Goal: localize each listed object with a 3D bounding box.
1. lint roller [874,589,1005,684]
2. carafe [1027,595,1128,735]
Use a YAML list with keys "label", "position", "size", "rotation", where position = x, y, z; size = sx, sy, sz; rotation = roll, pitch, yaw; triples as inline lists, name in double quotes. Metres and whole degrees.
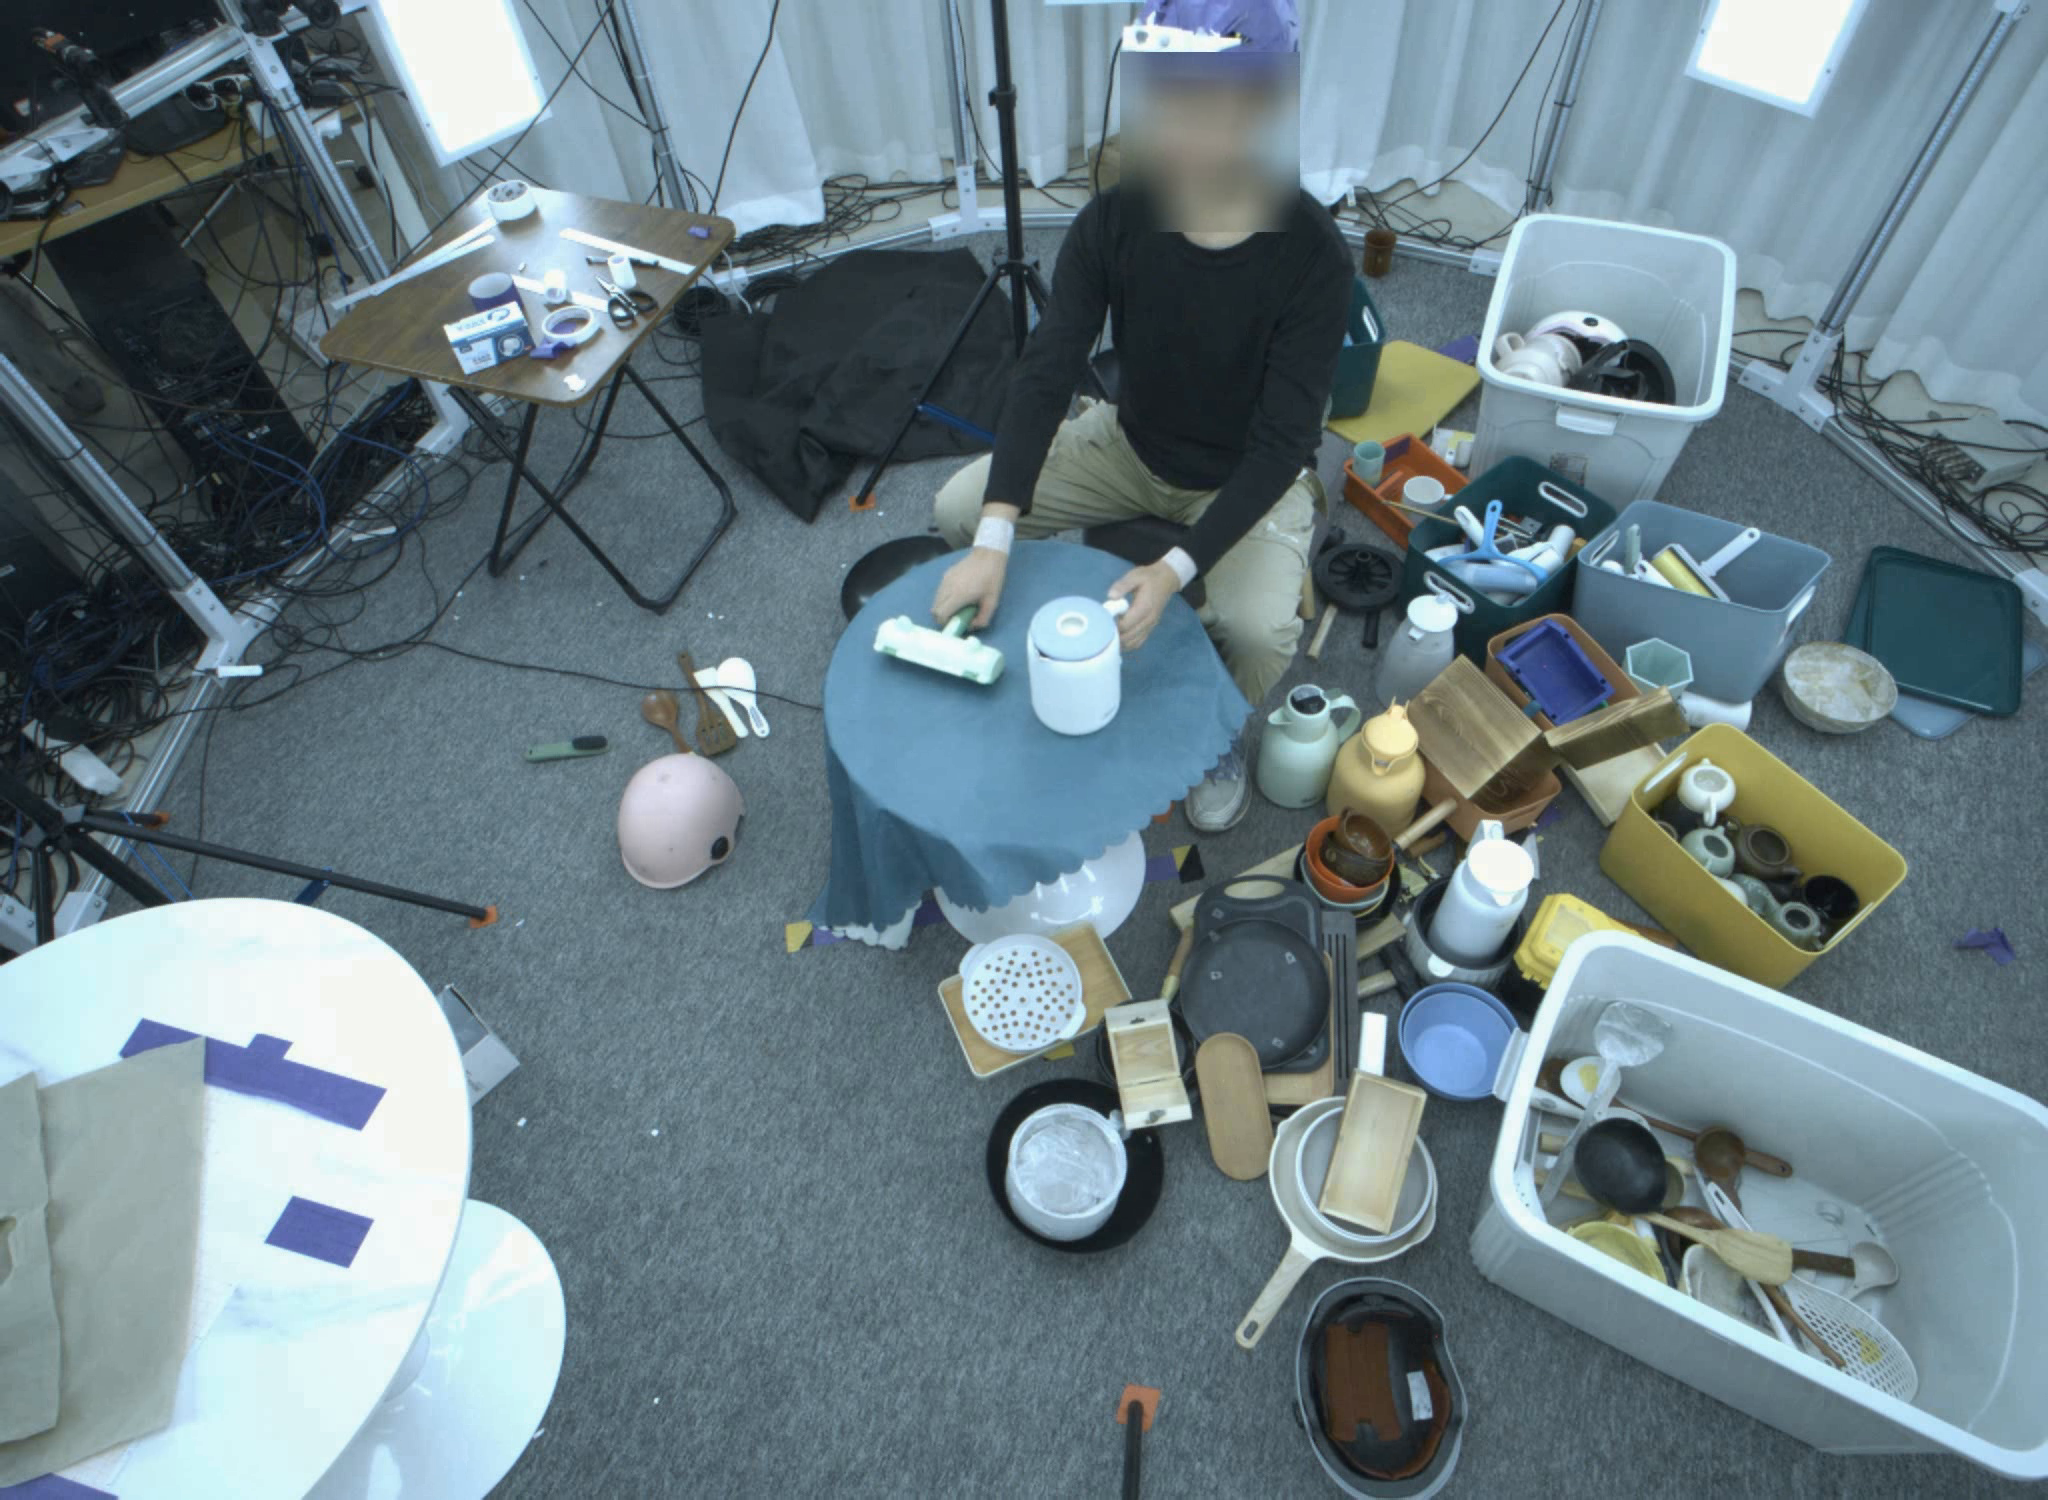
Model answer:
- label: "lint roller"
  position: [-0.107, -0.197, 1.882]
  size: [0.196, 0.083, 0.183]
  rotation: [18, 62, 14]
- label: "carafe"
  position: [0.088, -0.136, 1.775]
  size: [0.130, 0.184, 0.192]
  rotation: [35, 61, 24]
